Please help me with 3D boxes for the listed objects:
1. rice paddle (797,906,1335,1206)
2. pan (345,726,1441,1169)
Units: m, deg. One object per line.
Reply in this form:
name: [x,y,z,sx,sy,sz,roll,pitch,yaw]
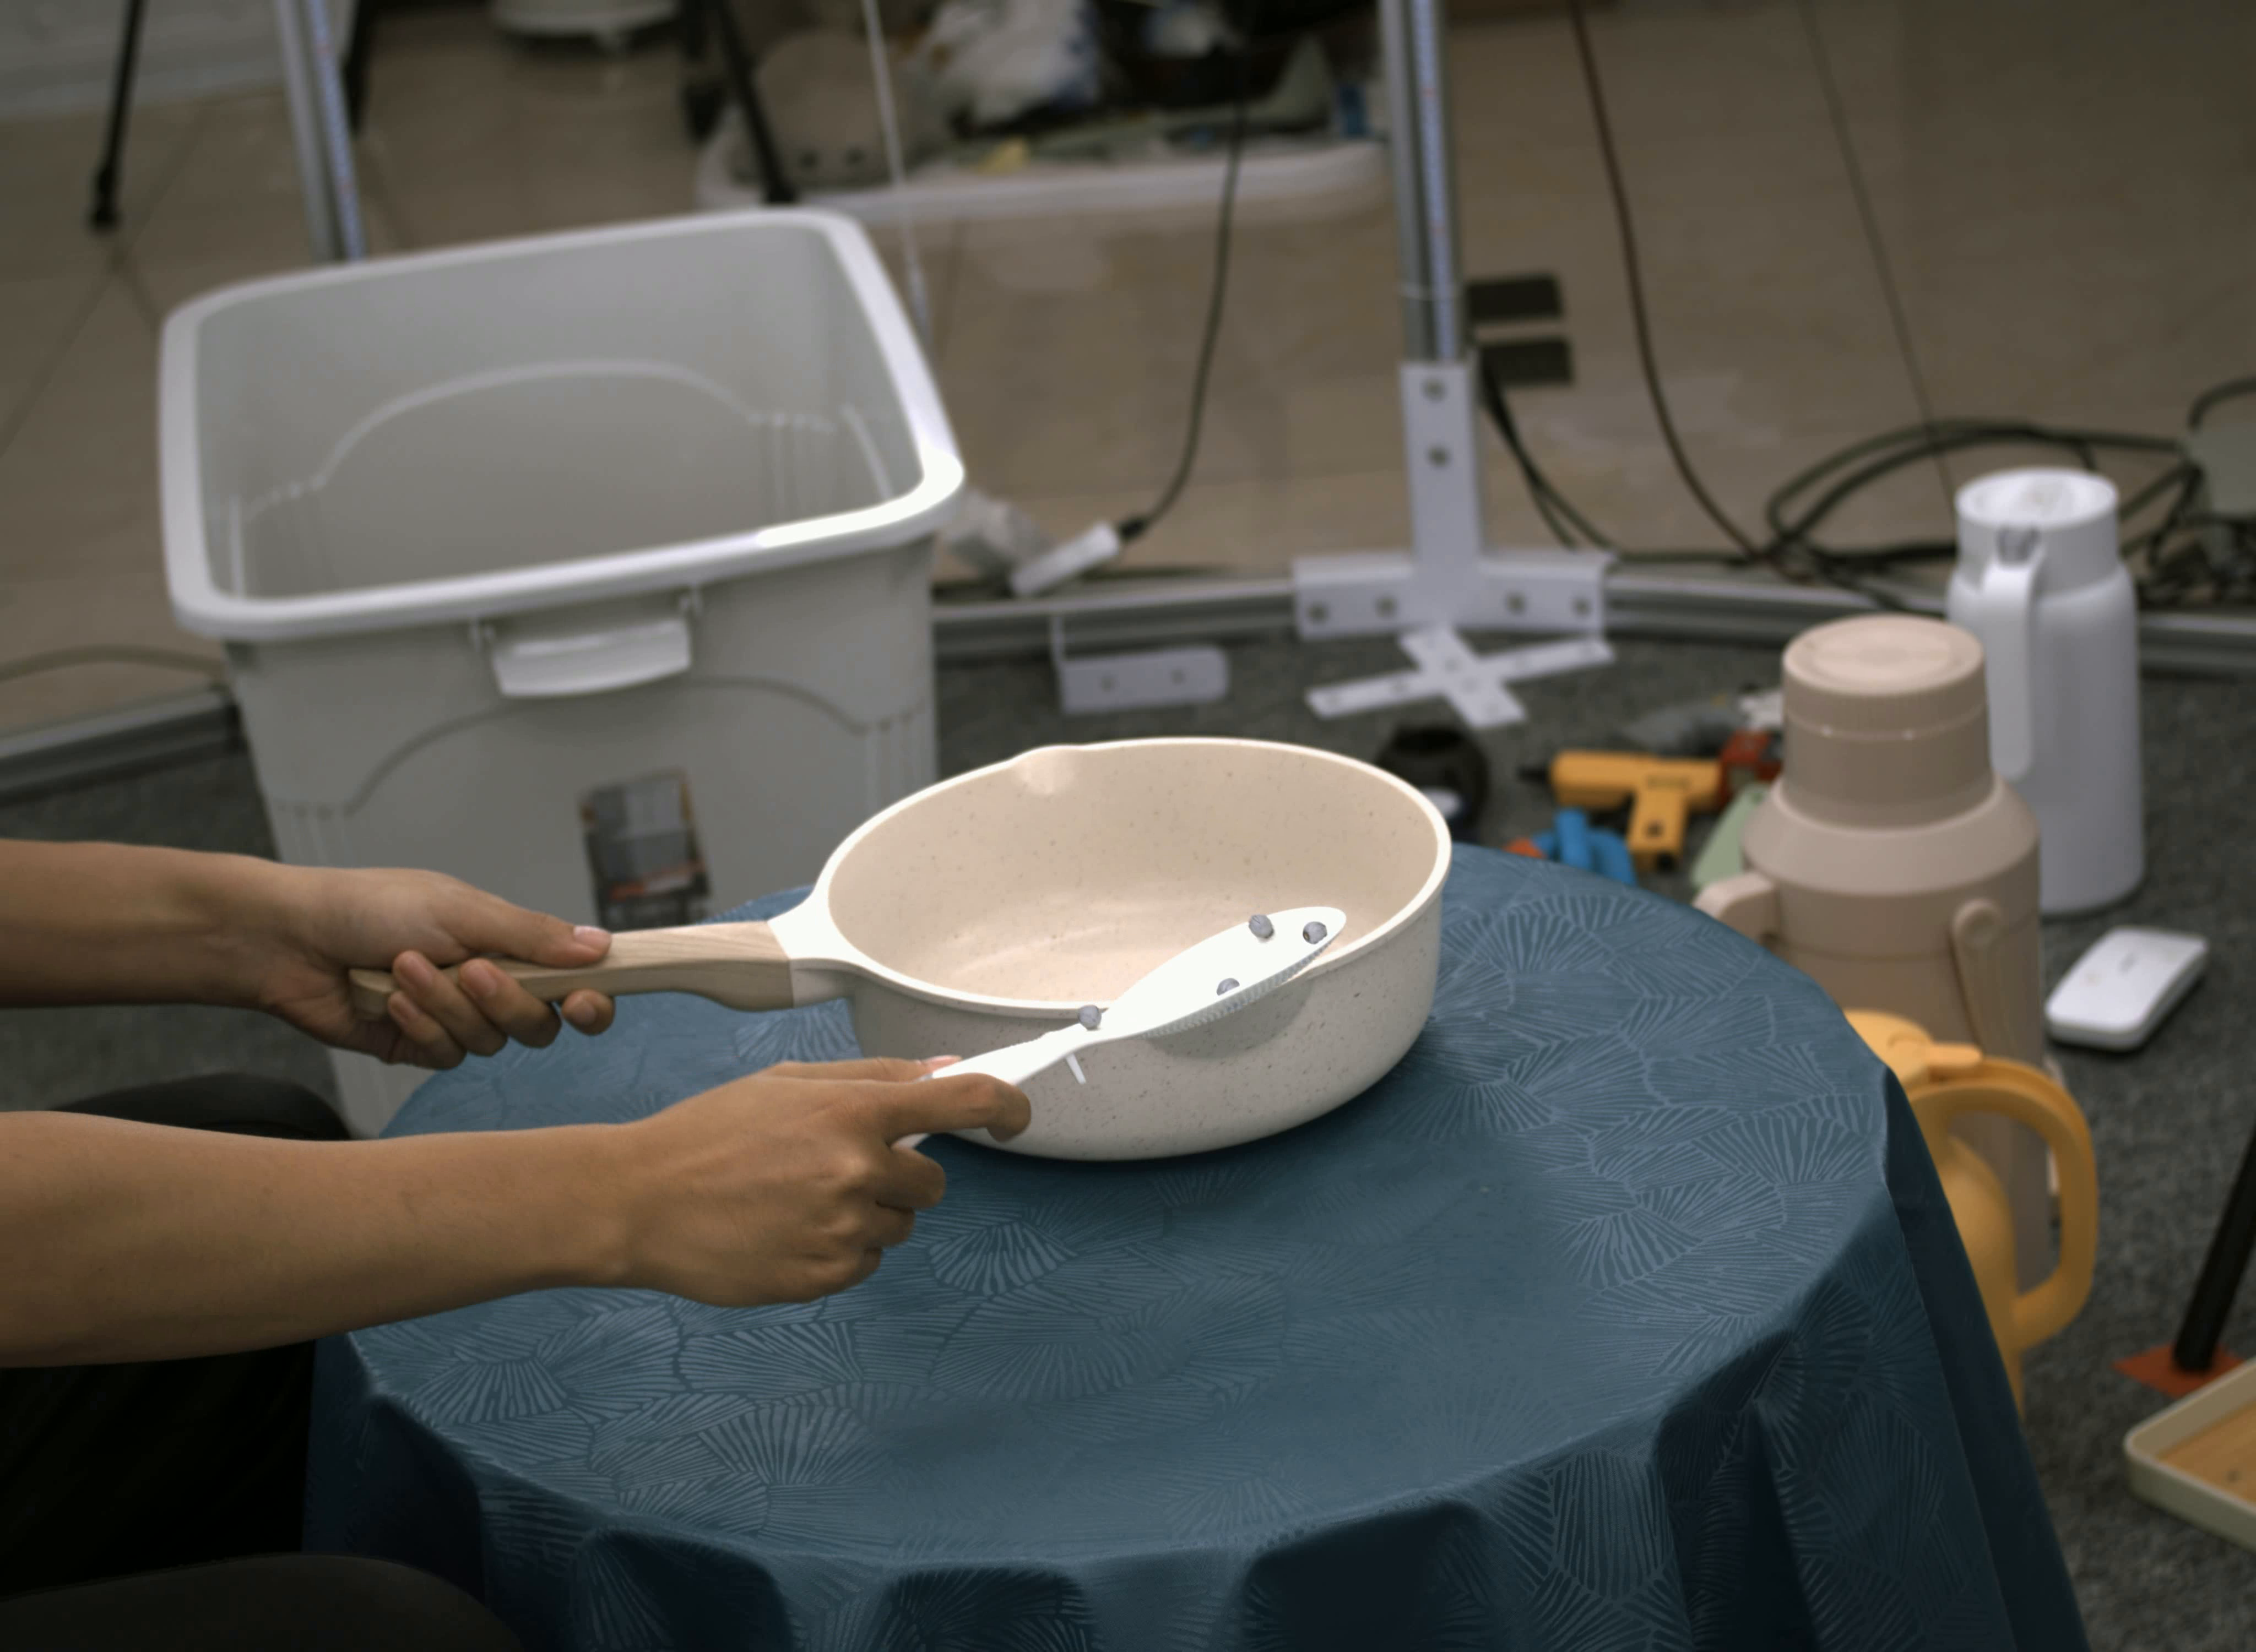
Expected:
rice paddle: [-0.019,0.073,1.991,0.205,0.030,0.068,-27,18,-6]
pan: [-0.087,0.065,2.221,0.433,0.104,0.259,-13,28,-13]
